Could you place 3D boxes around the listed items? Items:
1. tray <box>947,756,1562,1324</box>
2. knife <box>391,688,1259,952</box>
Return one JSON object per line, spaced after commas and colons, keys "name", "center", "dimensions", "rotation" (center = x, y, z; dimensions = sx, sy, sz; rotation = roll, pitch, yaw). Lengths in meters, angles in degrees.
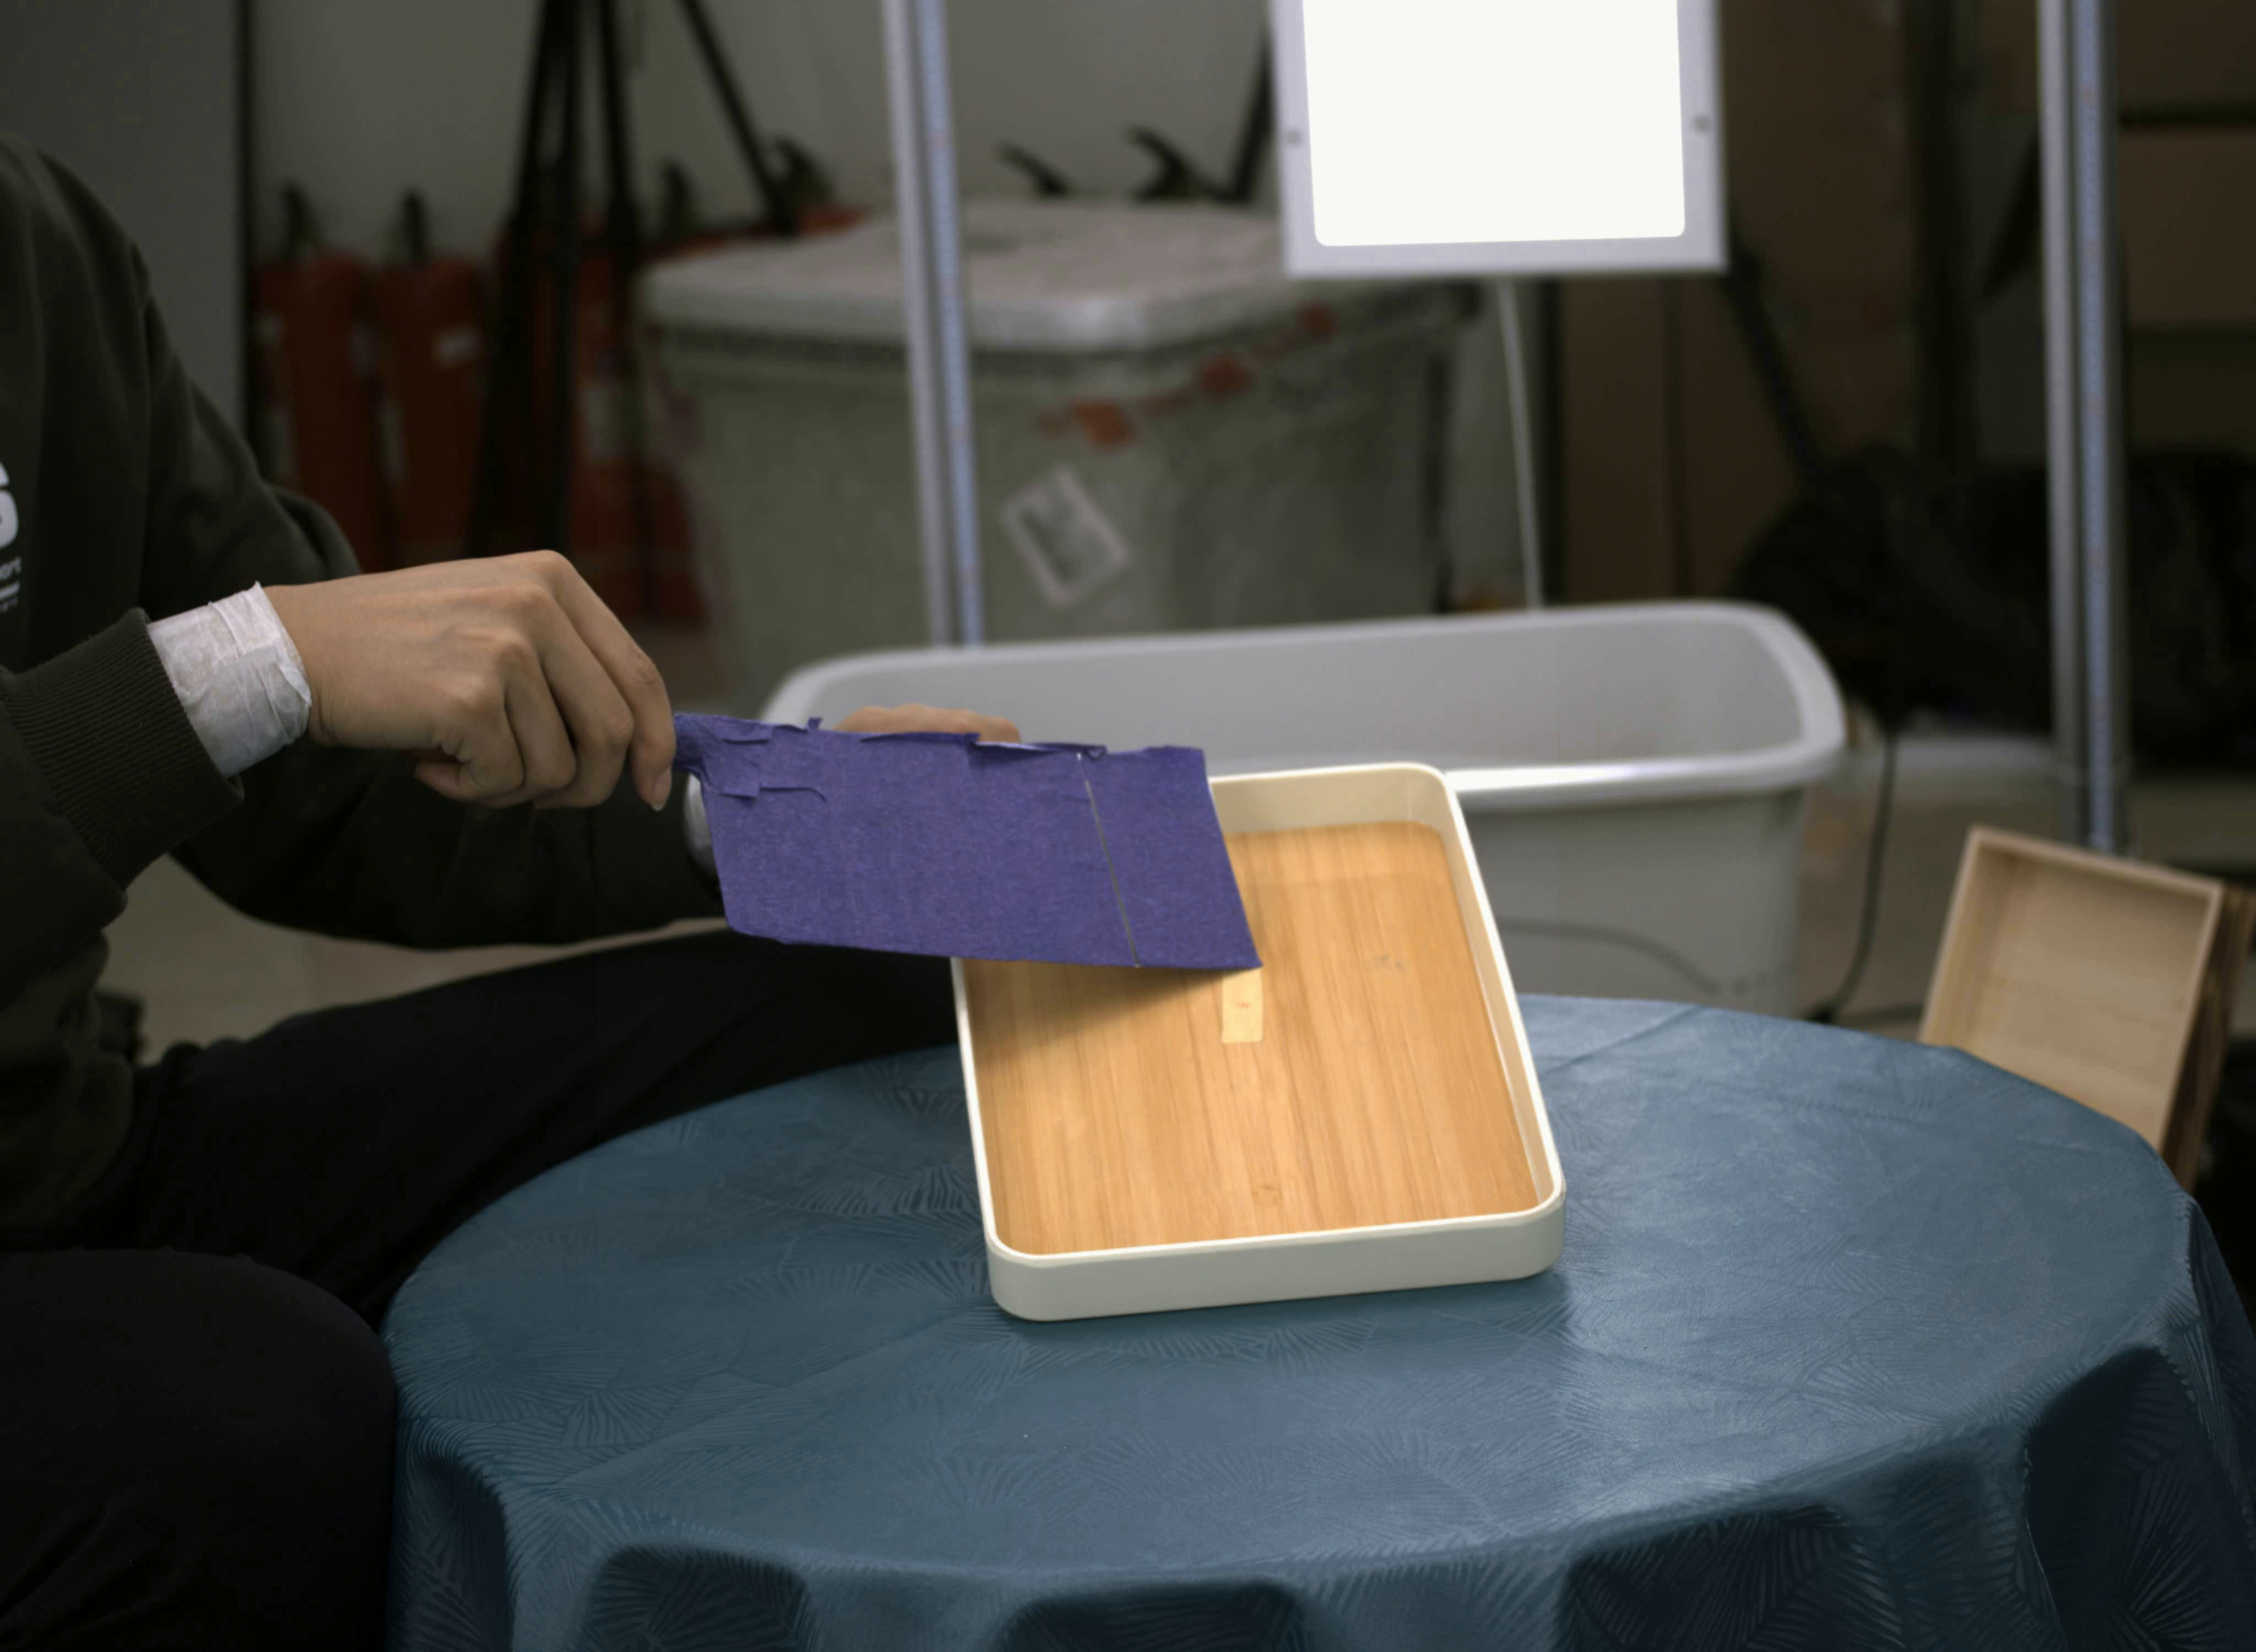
{"name": "tray", "center": [0.036, 0.068, 1.895], "dimensions": [0.191, 0.027, 0.300], "rotation": [-6, 31, -1]}
{"name": "knife", "center": [-0.096, -0.002, 1.892], "dimensions": [0.309, 0.104, 0.033], "rotation": [2, -35, -25]}
